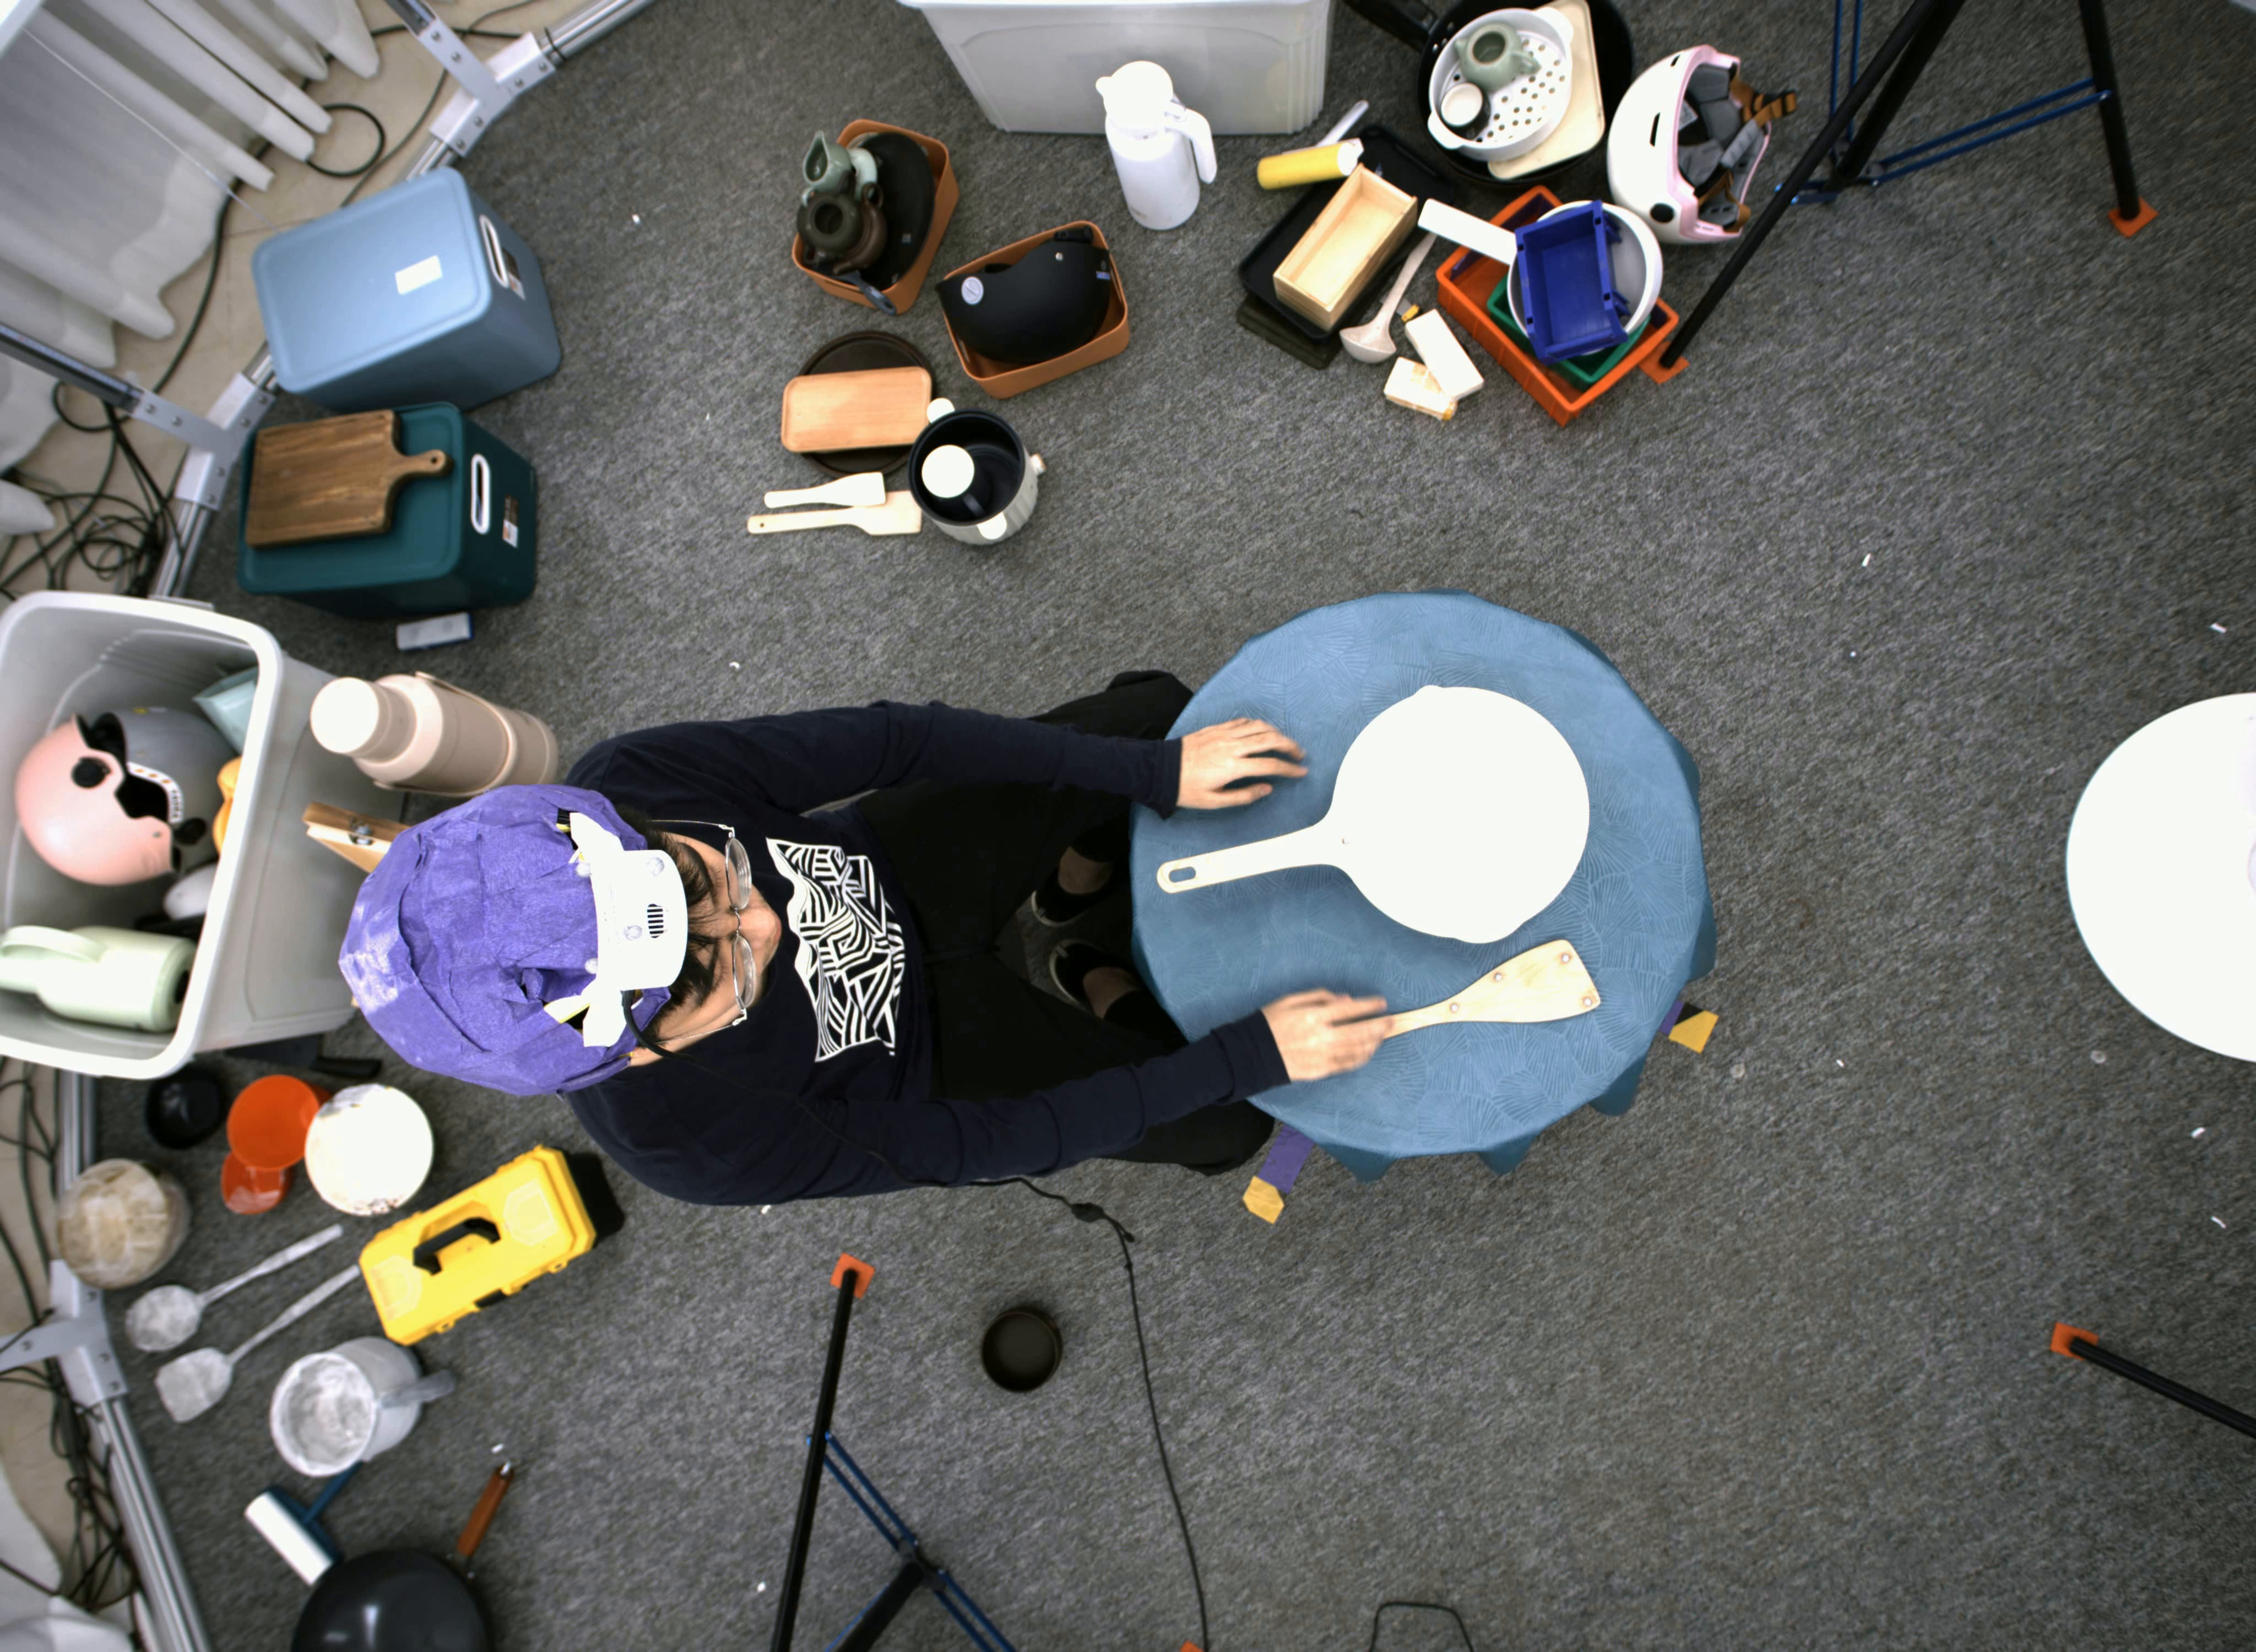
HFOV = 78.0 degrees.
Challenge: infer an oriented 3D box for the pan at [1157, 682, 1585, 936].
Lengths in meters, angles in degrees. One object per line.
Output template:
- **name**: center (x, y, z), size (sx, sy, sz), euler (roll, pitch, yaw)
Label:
- **pan**: center (0.245, 0.005, 1.419), size (0.437, 0.102, 0.262), euler (-15, 84, 10)

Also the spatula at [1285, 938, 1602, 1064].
- **spatula**: center (0.321, 0.192, 1.436), size (0.329, 0.016, 0.079), euler (-17, 84, 10)
